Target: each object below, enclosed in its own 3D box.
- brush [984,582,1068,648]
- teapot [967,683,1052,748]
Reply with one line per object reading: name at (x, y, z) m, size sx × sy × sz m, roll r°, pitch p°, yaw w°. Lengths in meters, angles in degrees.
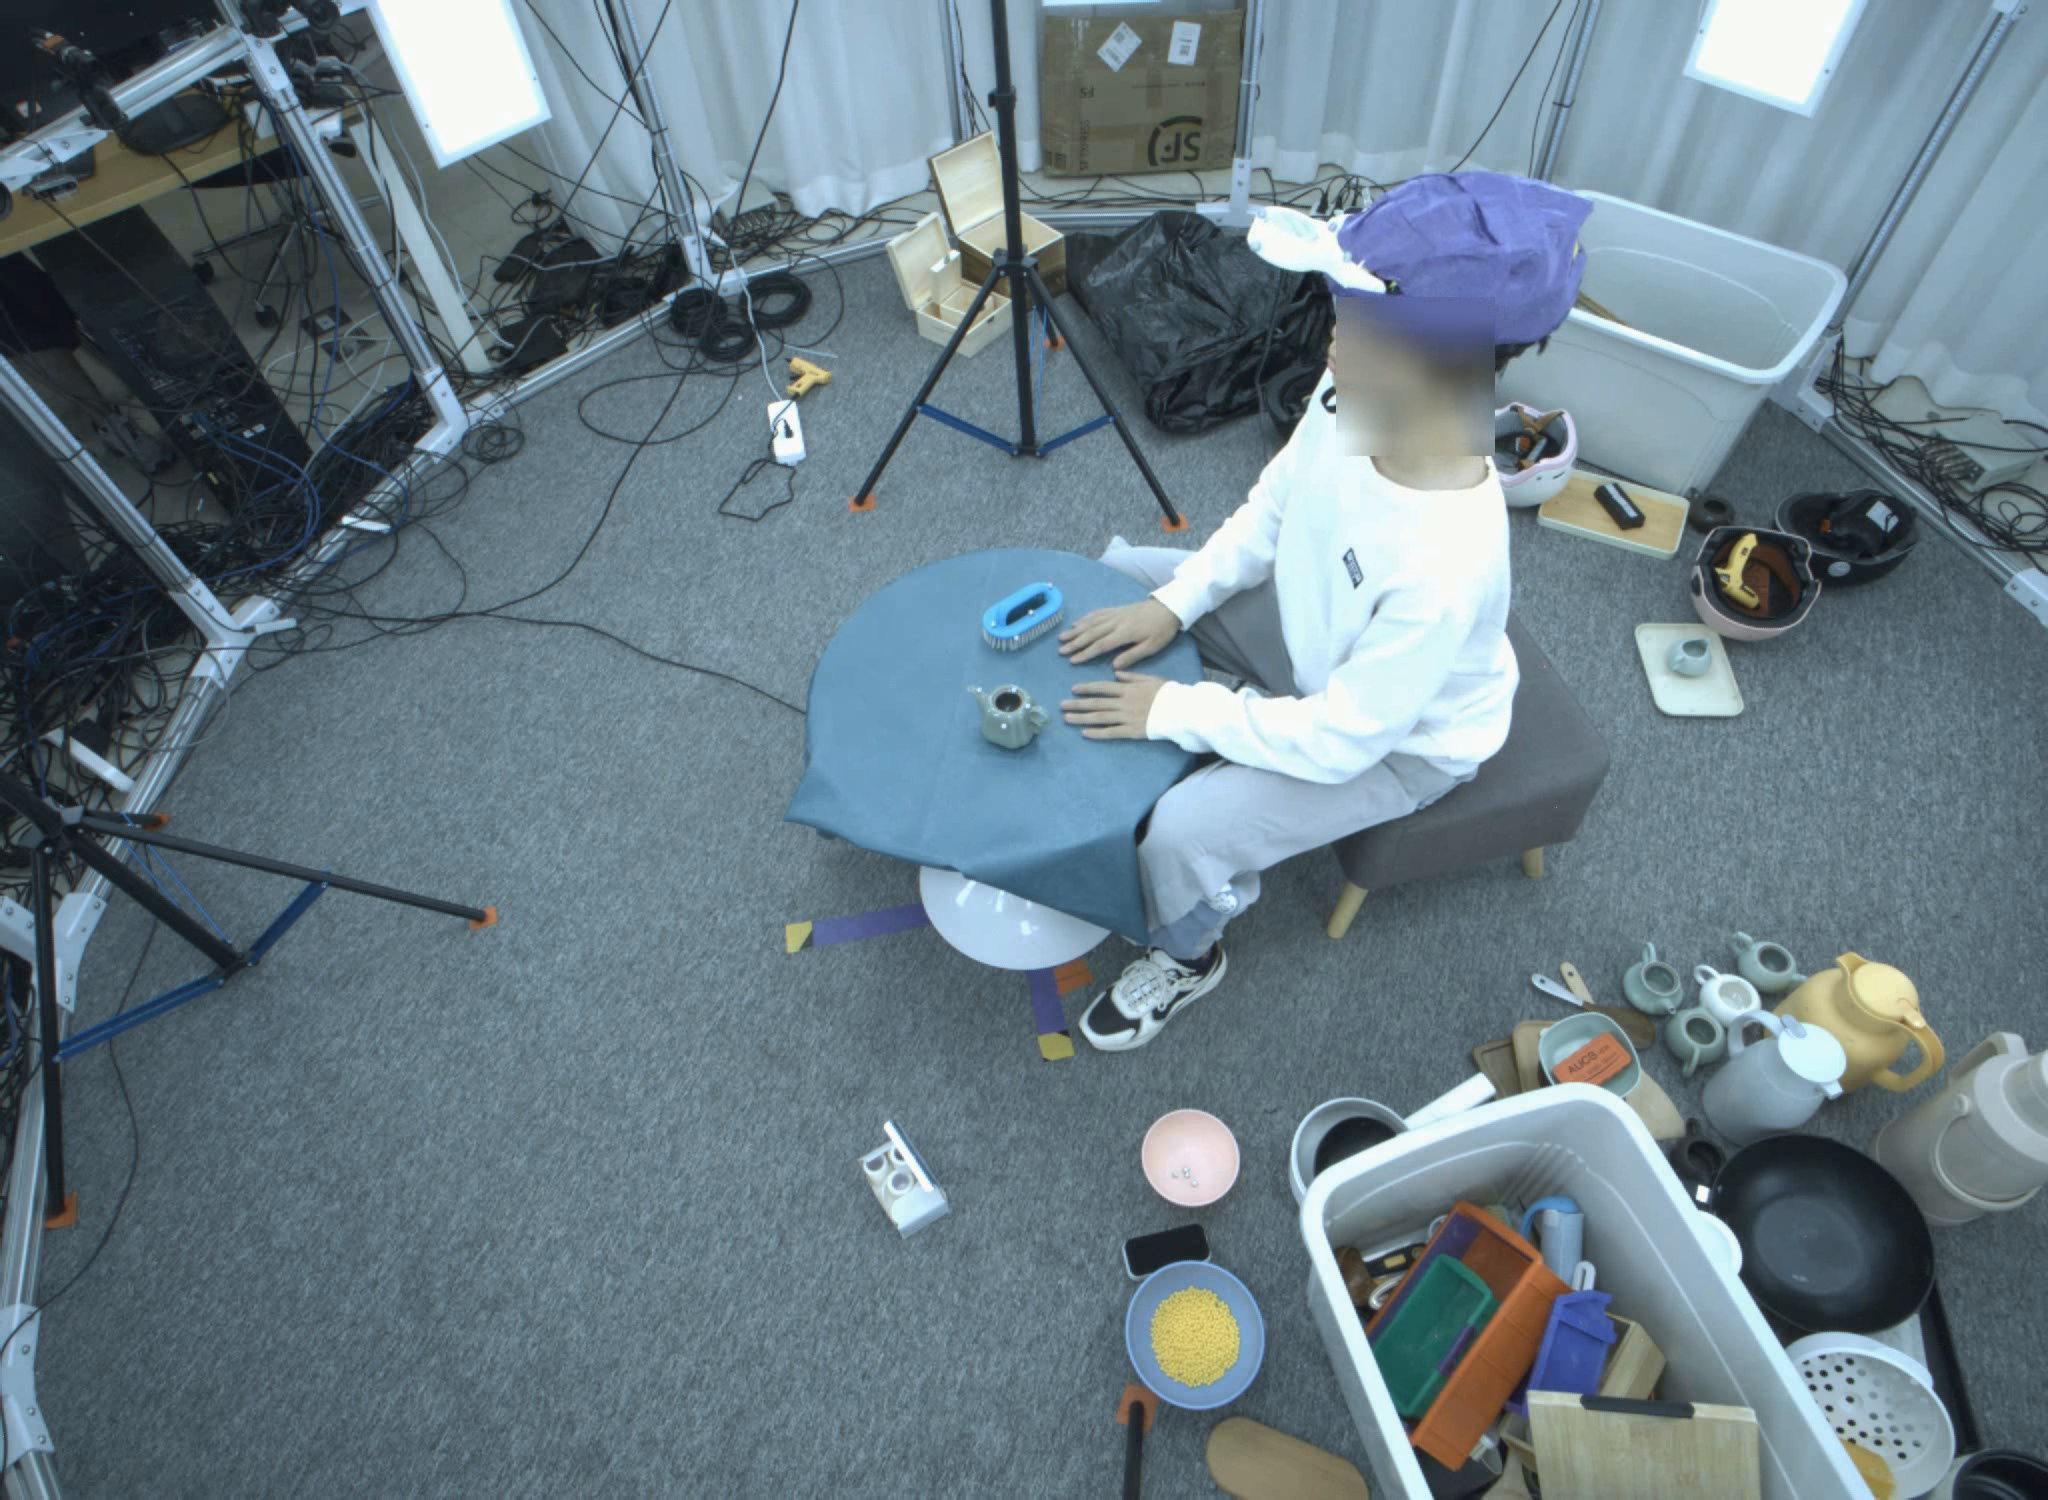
brush at (-0.001, -0.221, 1.902) m, size 0.143 × 0.064 × 0.082 m, roll -31°, pitch 54°, yaw -20°
teapot at (-0.020, -0.052, 1.777) m, size 0.131 × 0.076 × 0.080 m, roll 19°, pitch 58°, yaw 15°
